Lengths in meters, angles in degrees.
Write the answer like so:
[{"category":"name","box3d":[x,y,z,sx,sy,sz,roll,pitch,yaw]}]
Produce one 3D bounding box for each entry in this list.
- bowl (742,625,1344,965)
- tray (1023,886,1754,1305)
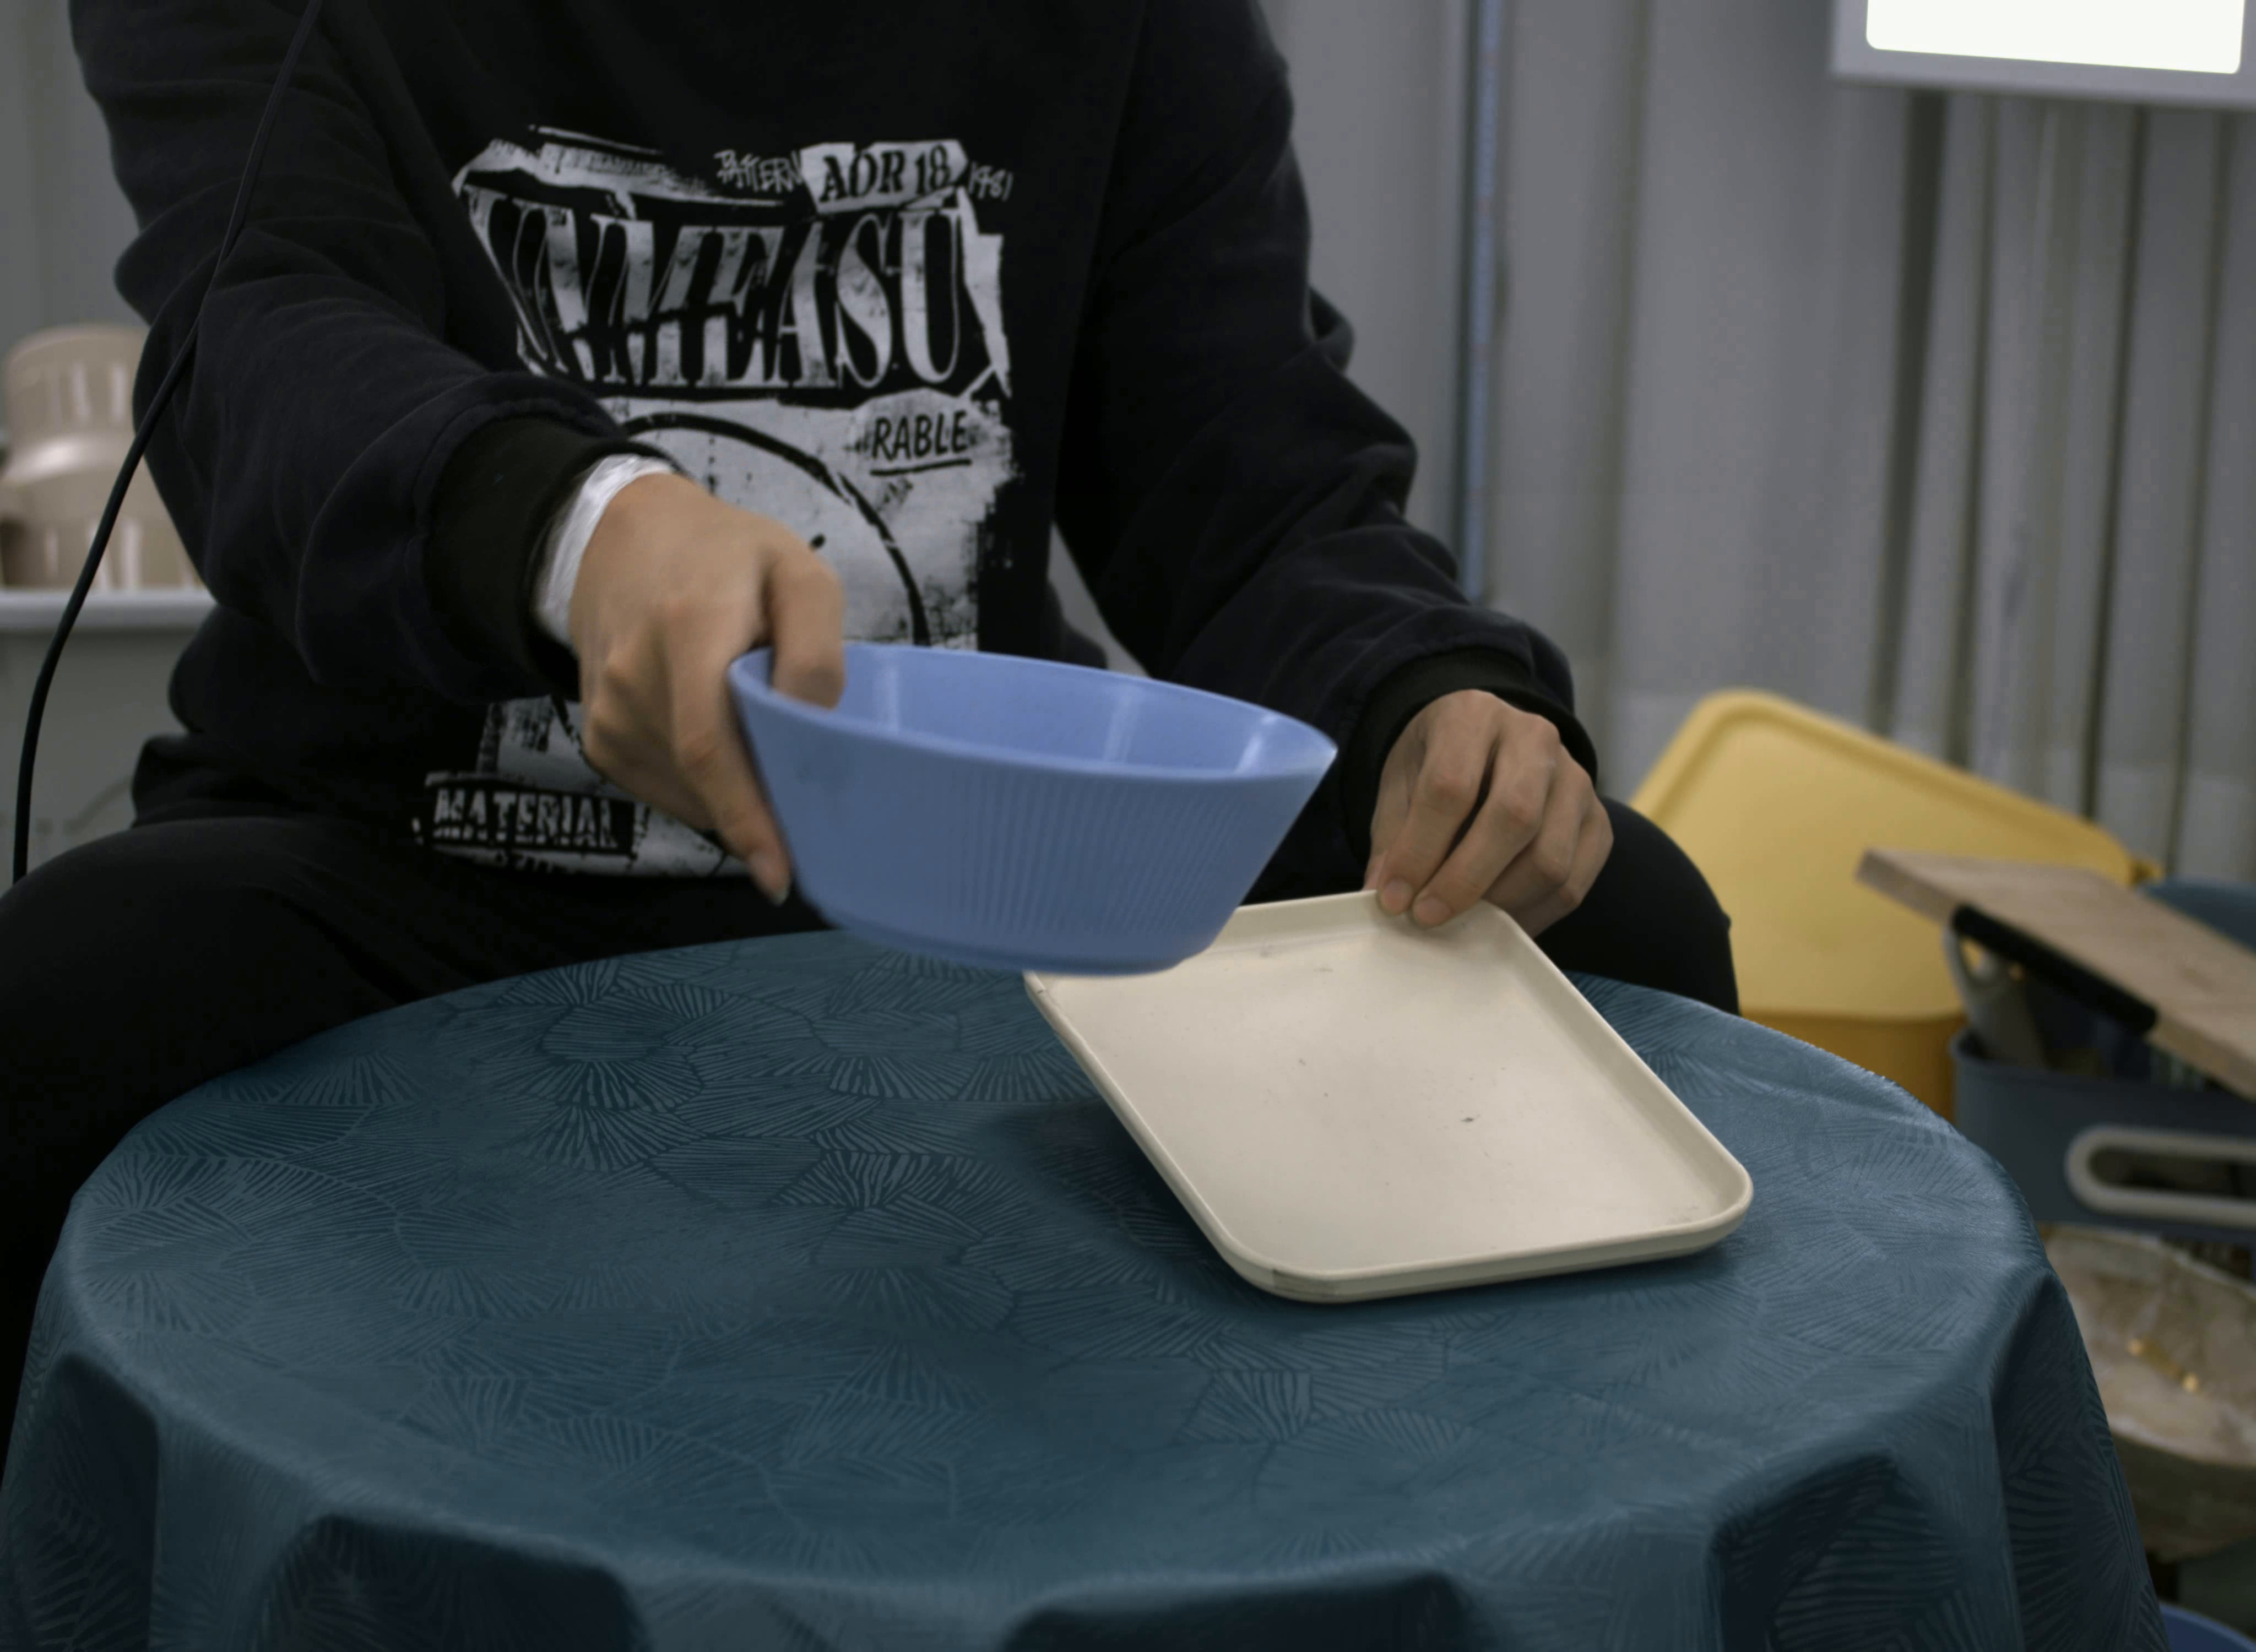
[{"category":"bowl","box3d":[-0.029,-0.007,1.512,0.175,0.071,0.175,10,10,-1]},{"category":"tray","box3d":[0.077,0.082,1.640,0.172,0.017,0.236,-5,27,-20]}]
